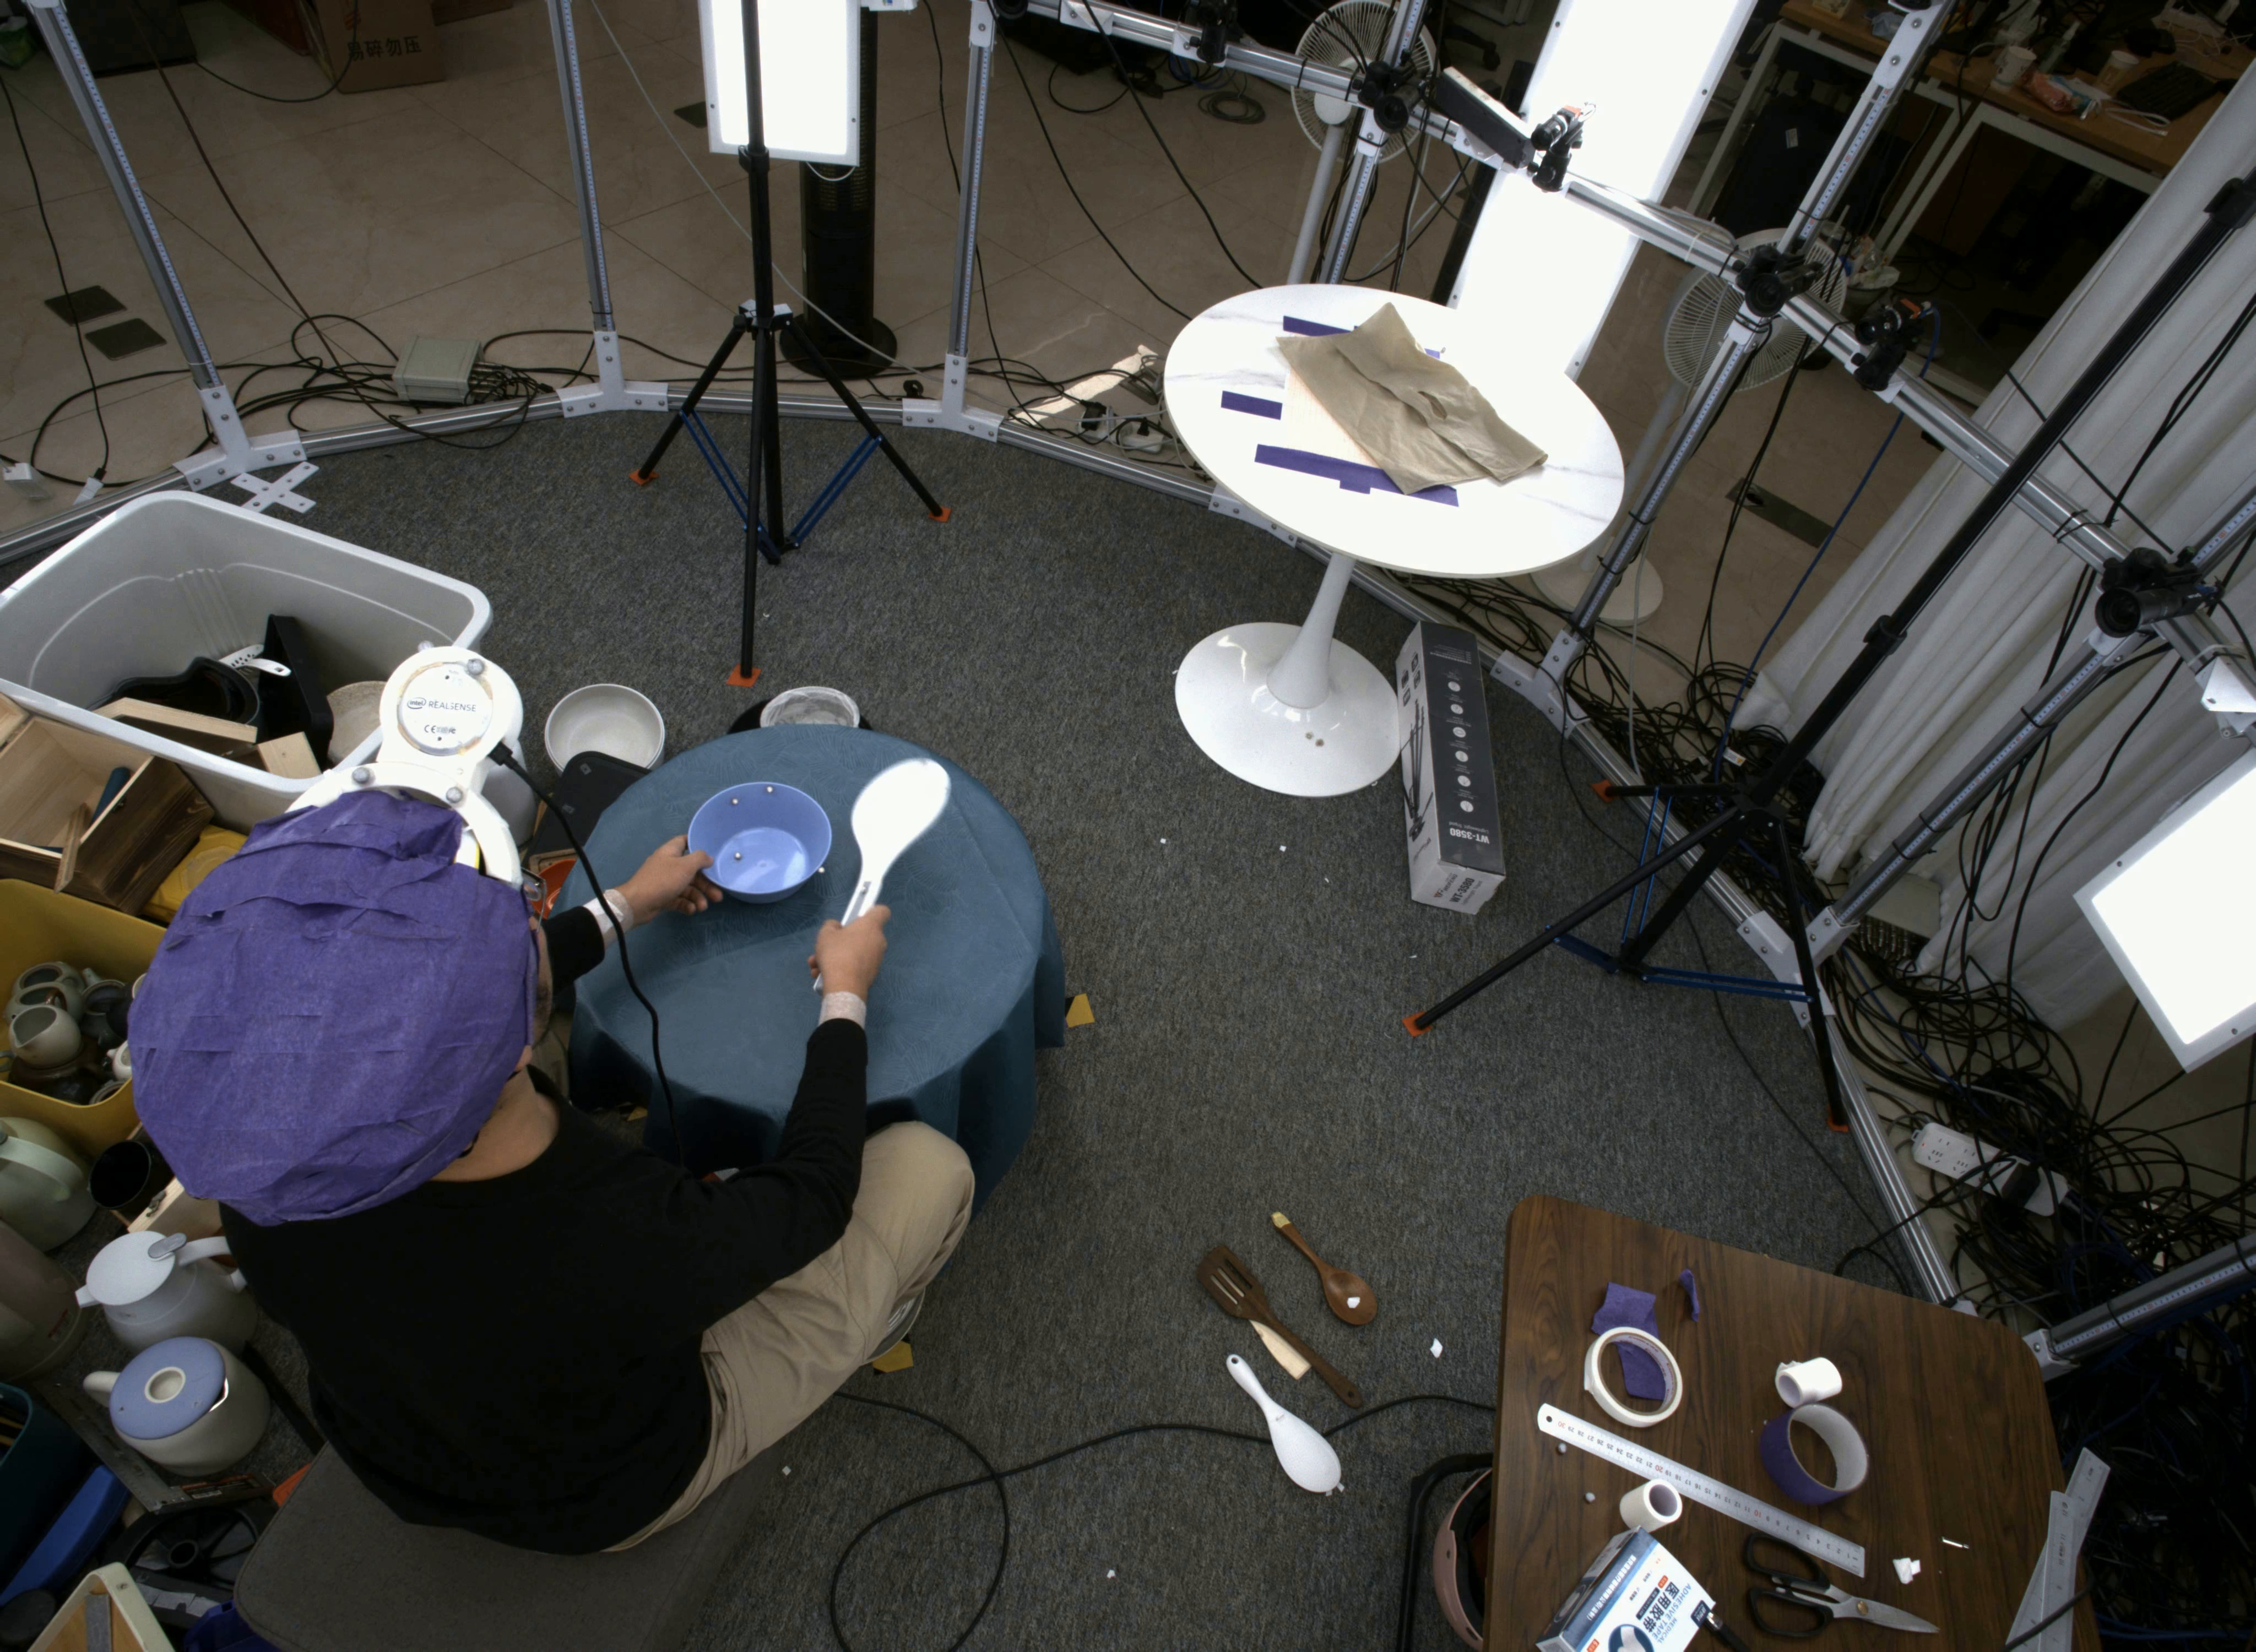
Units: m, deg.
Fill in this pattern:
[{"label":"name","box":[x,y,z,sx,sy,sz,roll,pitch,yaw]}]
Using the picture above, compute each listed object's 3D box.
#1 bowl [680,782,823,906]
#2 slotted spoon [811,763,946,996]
[{"label":"bowl","box":[-0.474,0.032,1.636,0.176,0.071,0.173,8,53,-8]},{"label":"slotted spoon","box":[-0.311,0.057,1.581,0.132,0.047,0.345,-3,44,23]}]
